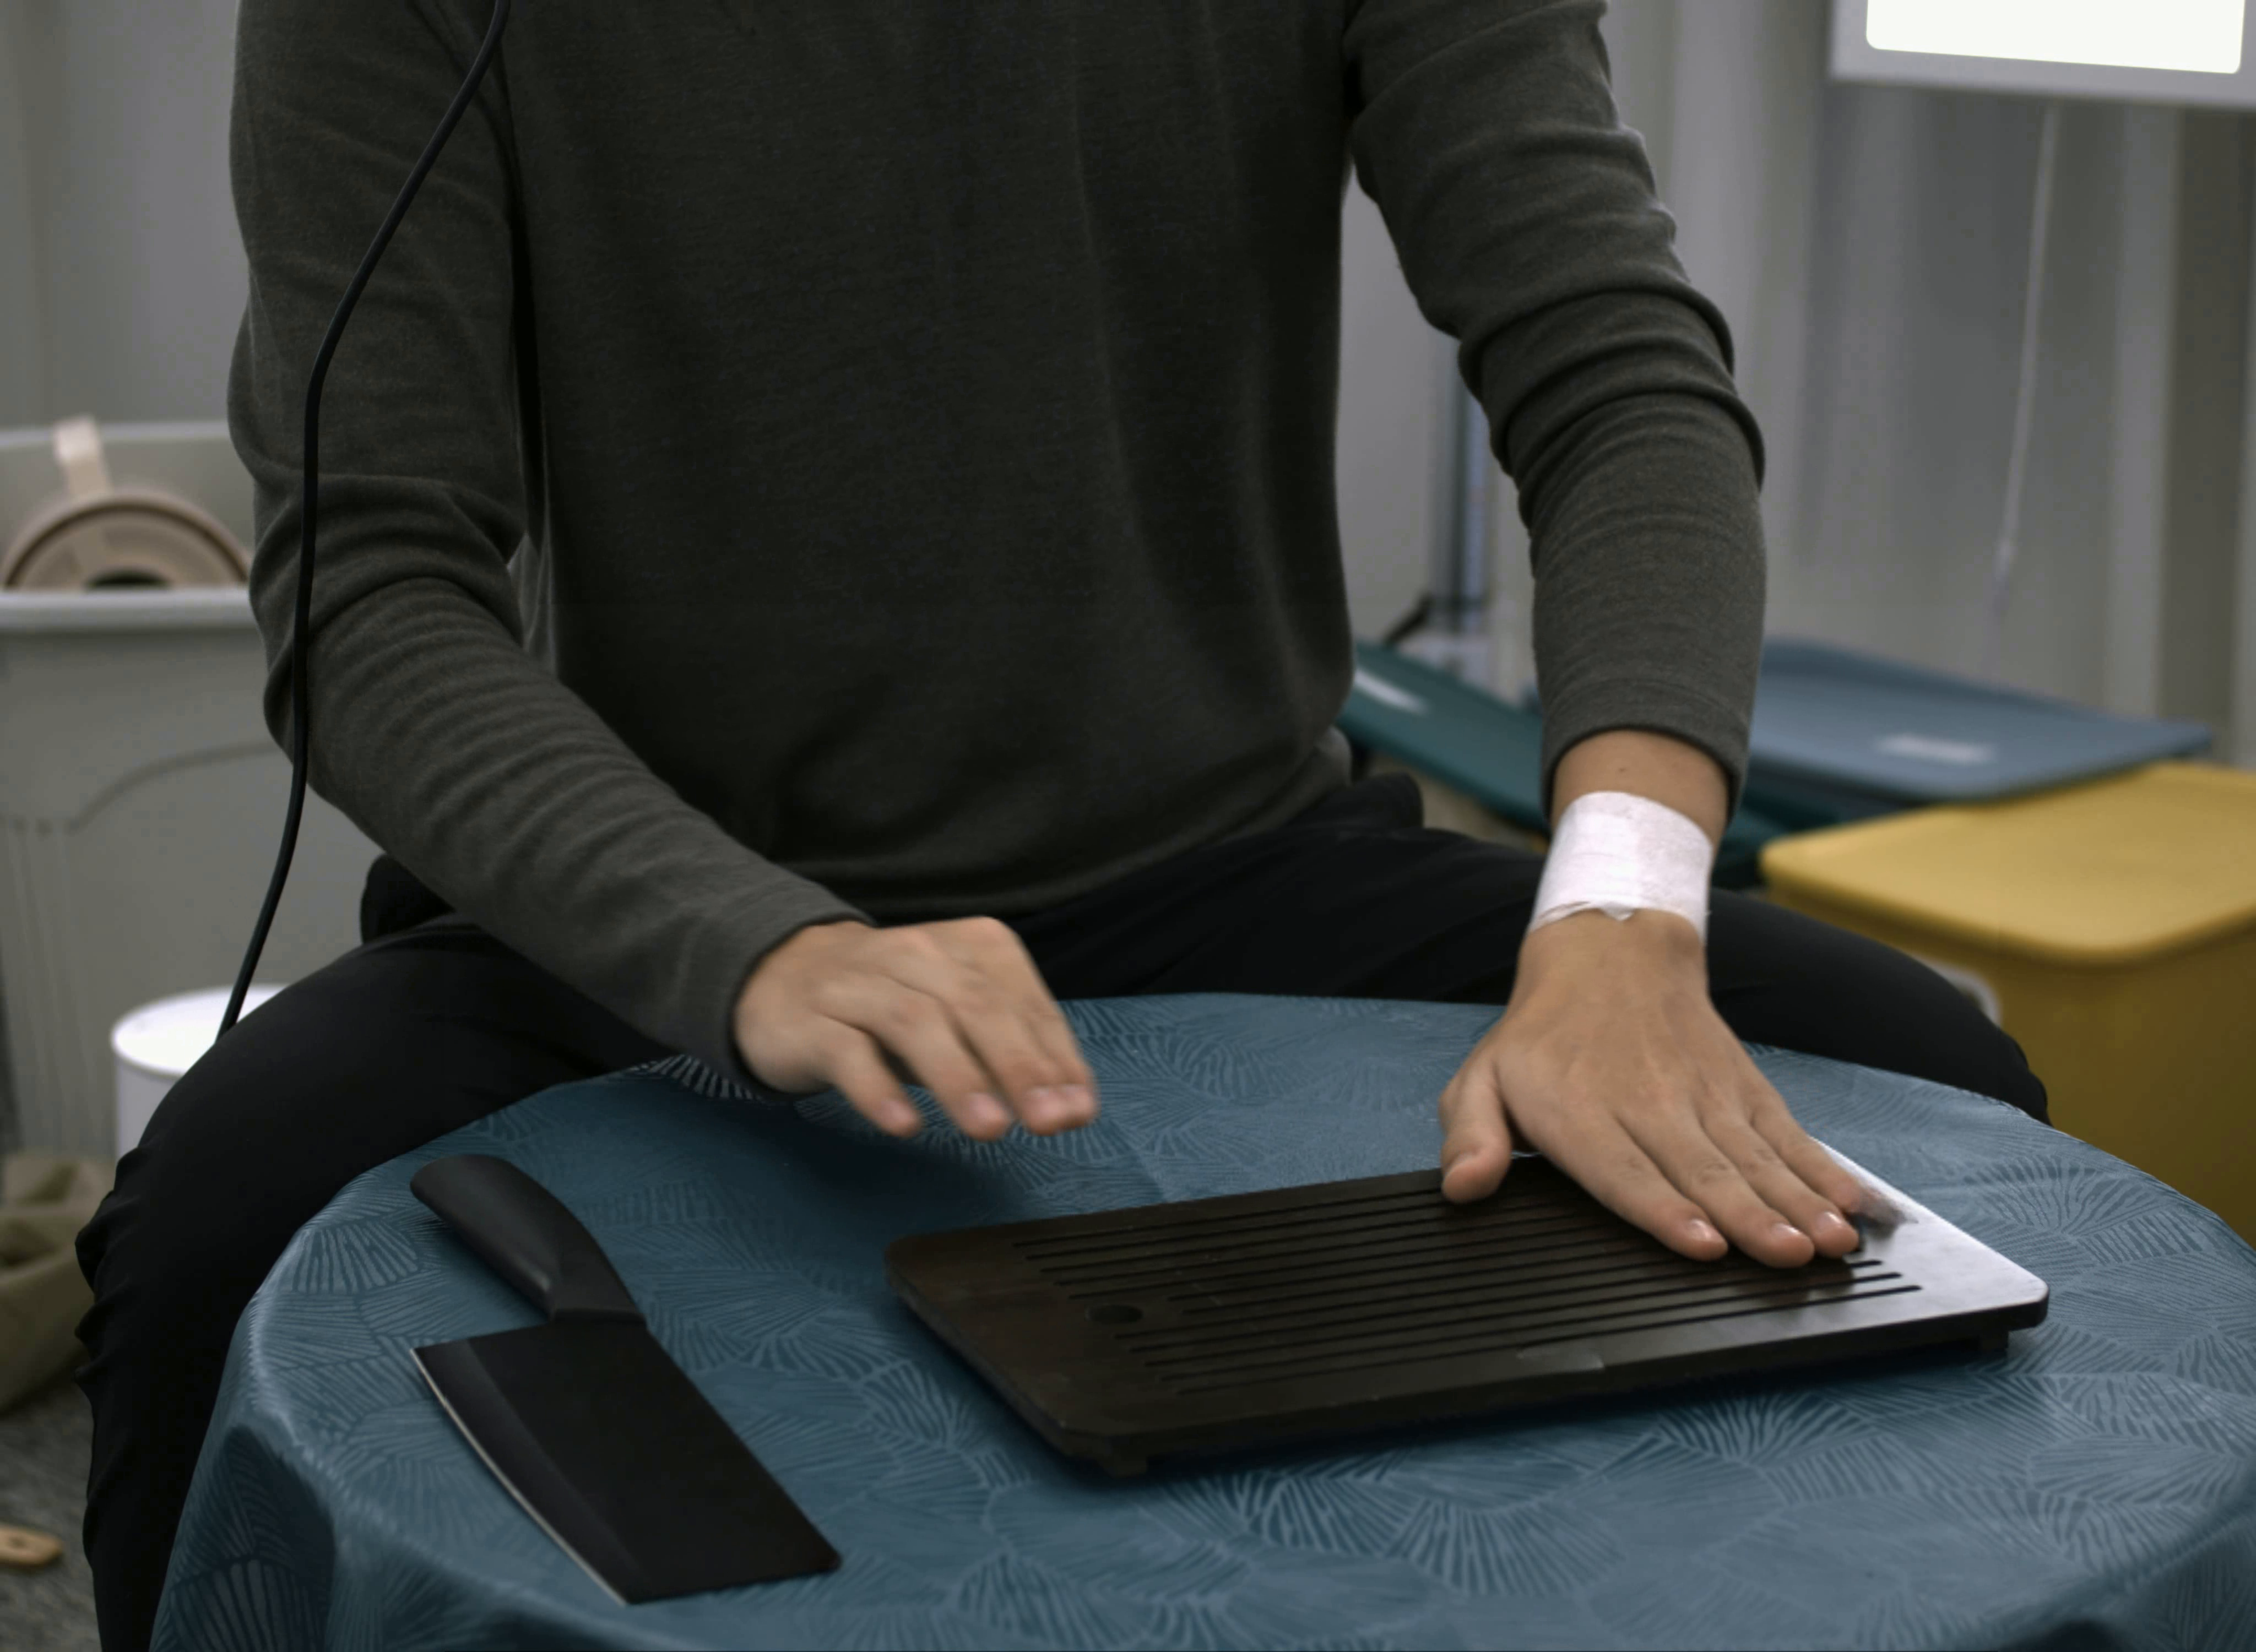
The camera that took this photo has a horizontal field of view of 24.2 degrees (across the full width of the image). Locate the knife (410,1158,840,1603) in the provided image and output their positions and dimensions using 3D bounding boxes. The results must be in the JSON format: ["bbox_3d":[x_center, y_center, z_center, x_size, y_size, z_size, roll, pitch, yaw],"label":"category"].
[{"bbox_3d":[-0.156,0.150,1.457,0.081,0.021,0.299,-6,18,-18],"label":"knife"}]

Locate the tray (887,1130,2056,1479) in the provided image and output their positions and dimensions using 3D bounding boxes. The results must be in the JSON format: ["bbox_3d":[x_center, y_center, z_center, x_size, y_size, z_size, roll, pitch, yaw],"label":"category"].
[{"bbox_3d":[0.097,0.135,1.512,0.307,0.019,0.168,-5,16,-22],"label":"tray"}]
